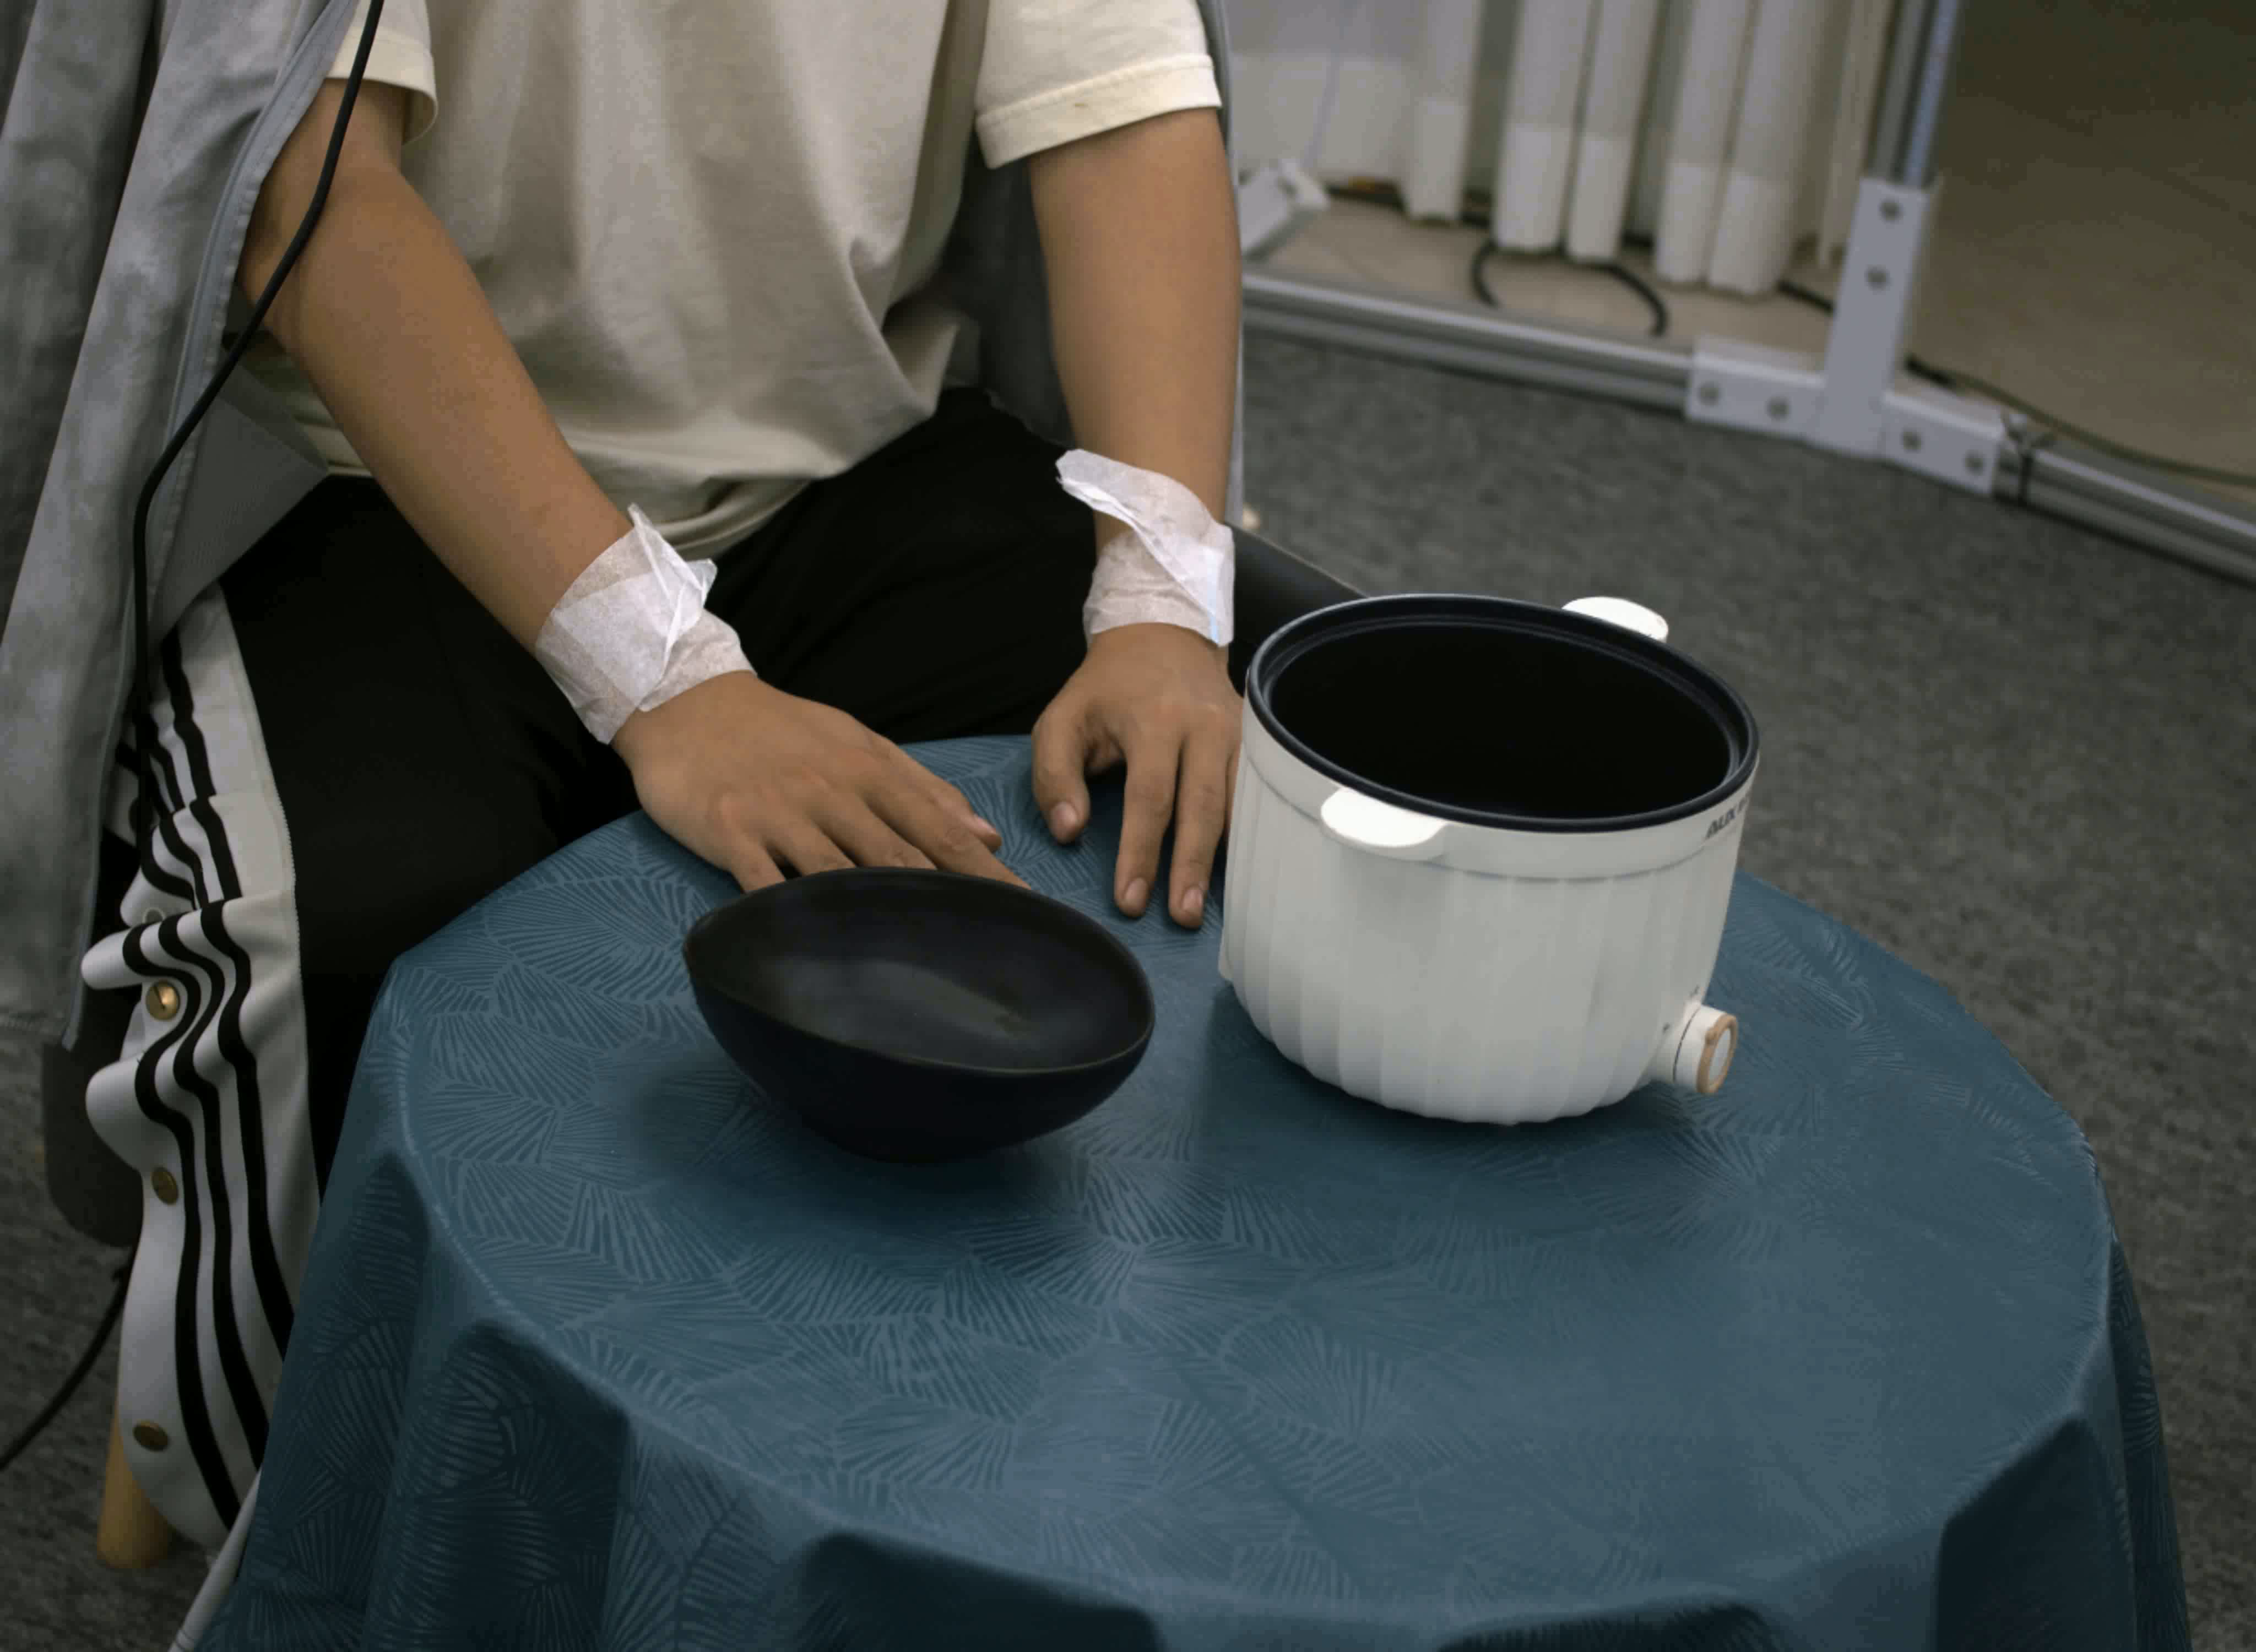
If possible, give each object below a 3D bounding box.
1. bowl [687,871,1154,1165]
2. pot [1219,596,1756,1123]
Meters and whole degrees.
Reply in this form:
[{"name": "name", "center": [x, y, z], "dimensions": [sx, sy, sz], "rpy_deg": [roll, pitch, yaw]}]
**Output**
[{"name": "bowl", "center": [-0.075, 0.073, 1.818], "dimensions": [0.171, 0.066, 0.137], "rpy_deg": [17, 27, 22]}, {"name": "pot", "center": [0.129, 0.017, 1.892], "dimensions": [0.191, 0.142, 0.240], "rpy_deg": [15, 28, 23]}]
